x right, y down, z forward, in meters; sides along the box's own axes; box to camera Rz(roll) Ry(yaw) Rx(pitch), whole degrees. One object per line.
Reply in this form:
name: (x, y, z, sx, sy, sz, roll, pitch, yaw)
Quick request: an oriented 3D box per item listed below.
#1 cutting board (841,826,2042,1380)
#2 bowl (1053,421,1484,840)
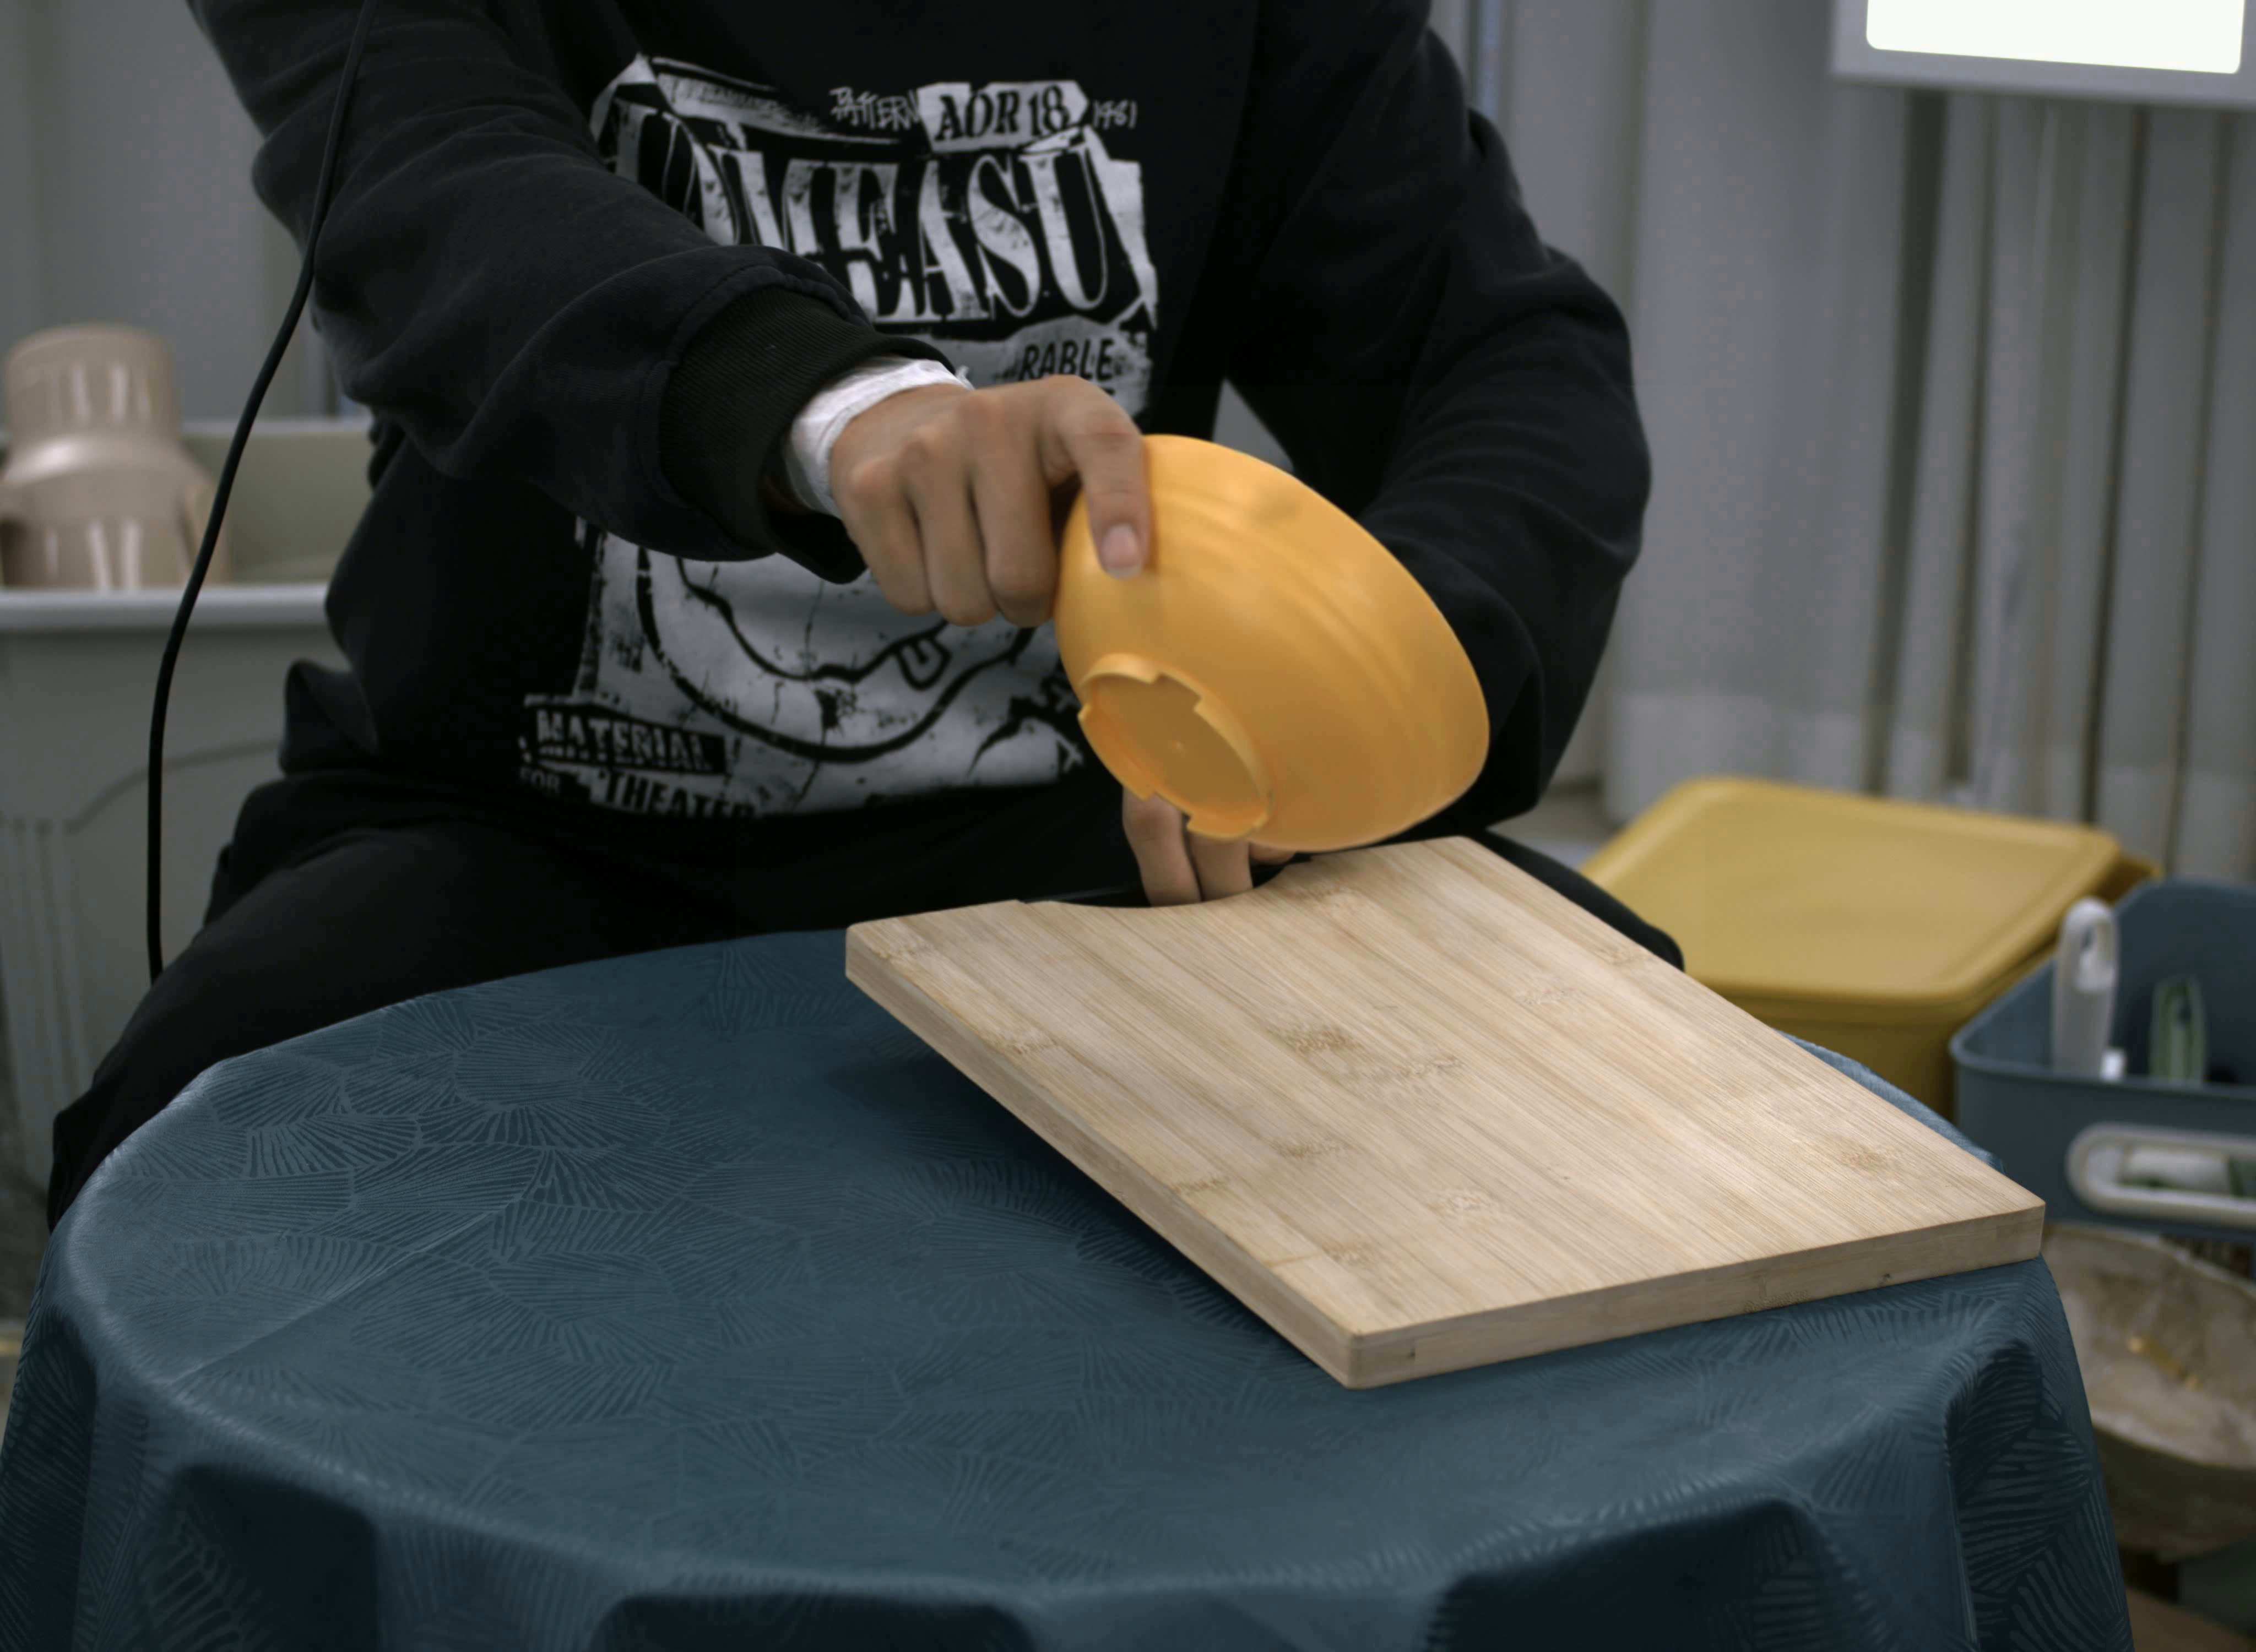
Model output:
cutting board: (0.089, 0.079, 1.662, 0.252, 0.024, 0.344, -8, 23, -28)
bowl: (0.028, -0.043, 1.510, 0.143, 0.147, 0.060, 16, 56, 42)
